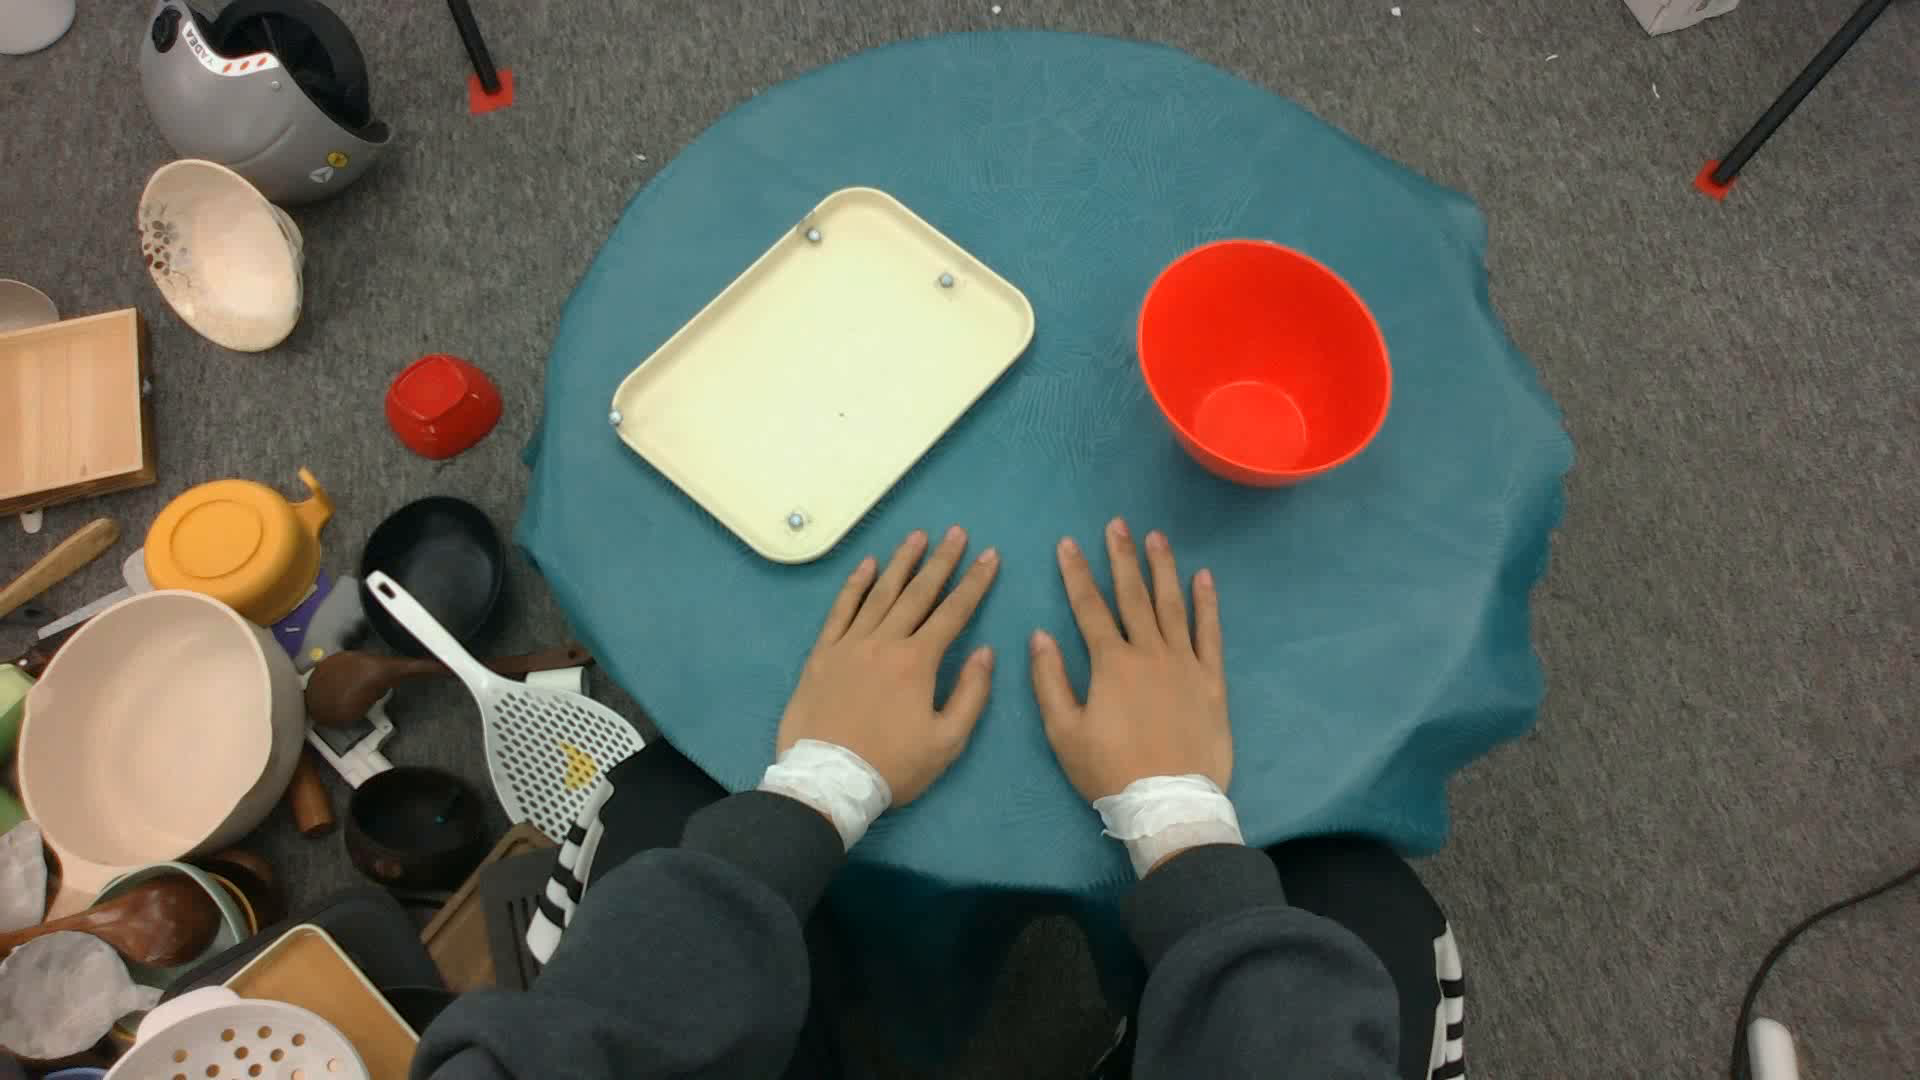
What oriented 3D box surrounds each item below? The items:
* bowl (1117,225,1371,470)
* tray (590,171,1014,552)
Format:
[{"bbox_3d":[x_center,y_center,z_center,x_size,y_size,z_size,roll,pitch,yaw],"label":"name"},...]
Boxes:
[{"bbox_3d":[0.159,-0.098,0.808,0.148,0.104,0.148,1,66,-1],"label":"bowl"},{"bbox_3d":[-0.094,-0.114,0.850,0.171,0.017,0.240,38,71,12],"label":"tray"}]
